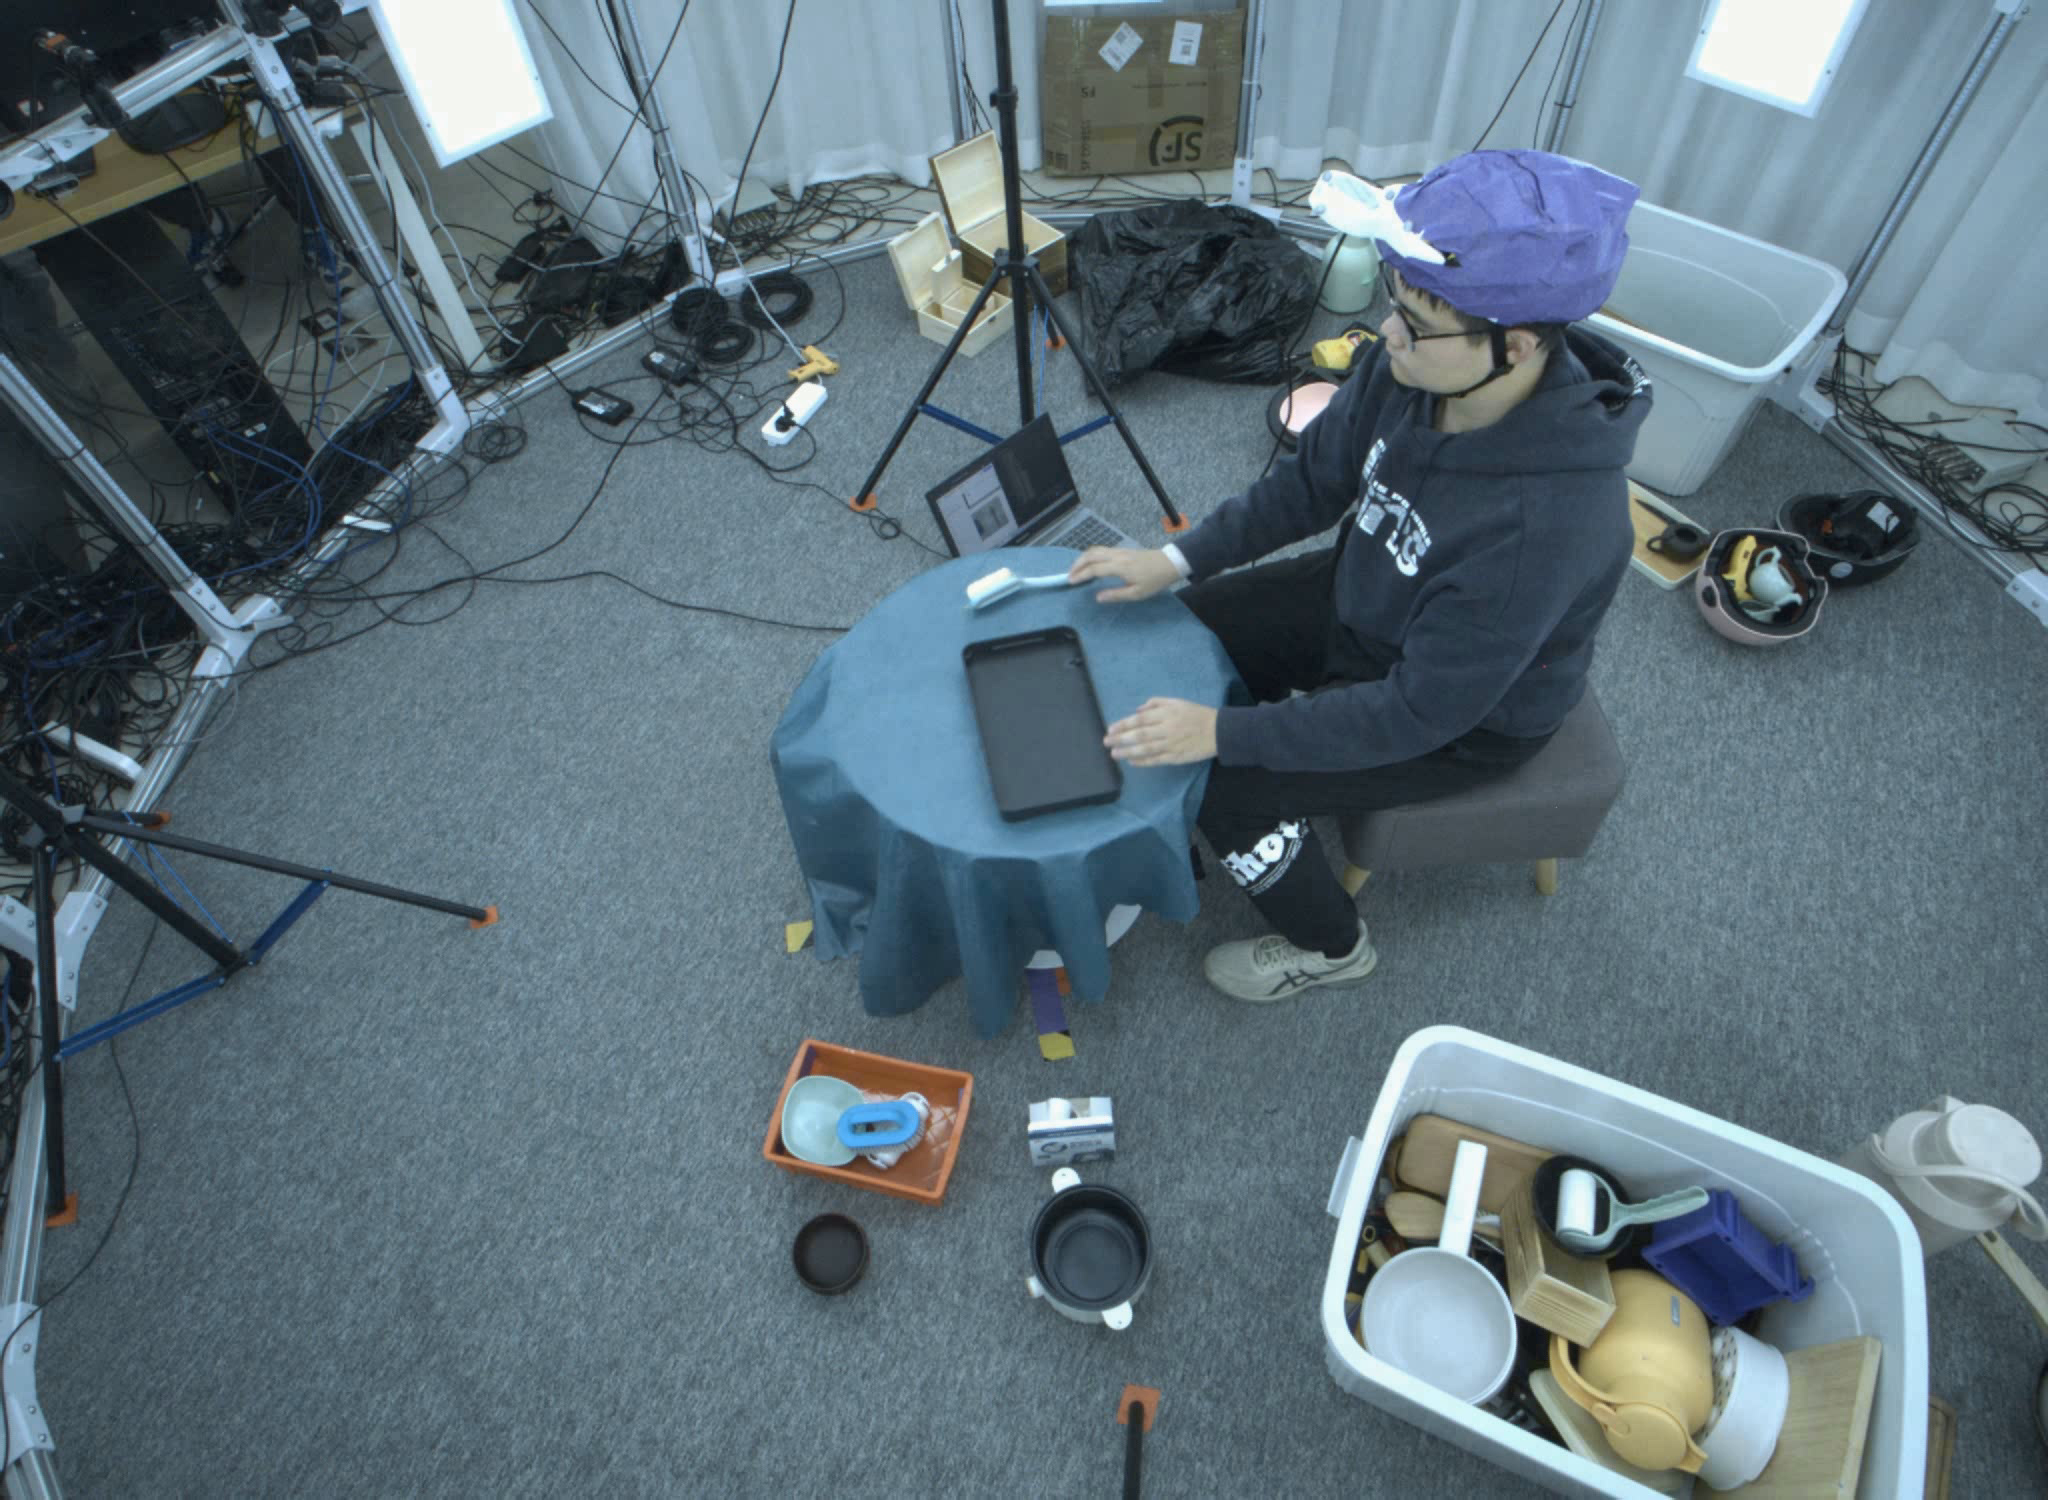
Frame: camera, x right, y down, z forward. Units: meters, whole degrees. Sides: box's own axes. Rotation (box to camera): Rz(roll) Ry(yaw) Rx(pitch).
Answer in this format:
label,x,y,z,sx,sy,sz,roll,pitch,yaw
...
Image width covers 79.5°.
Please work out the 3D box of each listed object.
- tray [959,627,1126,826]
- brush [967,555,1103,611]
label,x,y,z,sx,sy,sz,roll,pitch,yaw
tray,0.023,-0.039,1.793,0.185,0.037,0.313,-11,55,-7
brush,0.018,-0.277,1.959,0.230,0.038,0.049,-18,62,-10
